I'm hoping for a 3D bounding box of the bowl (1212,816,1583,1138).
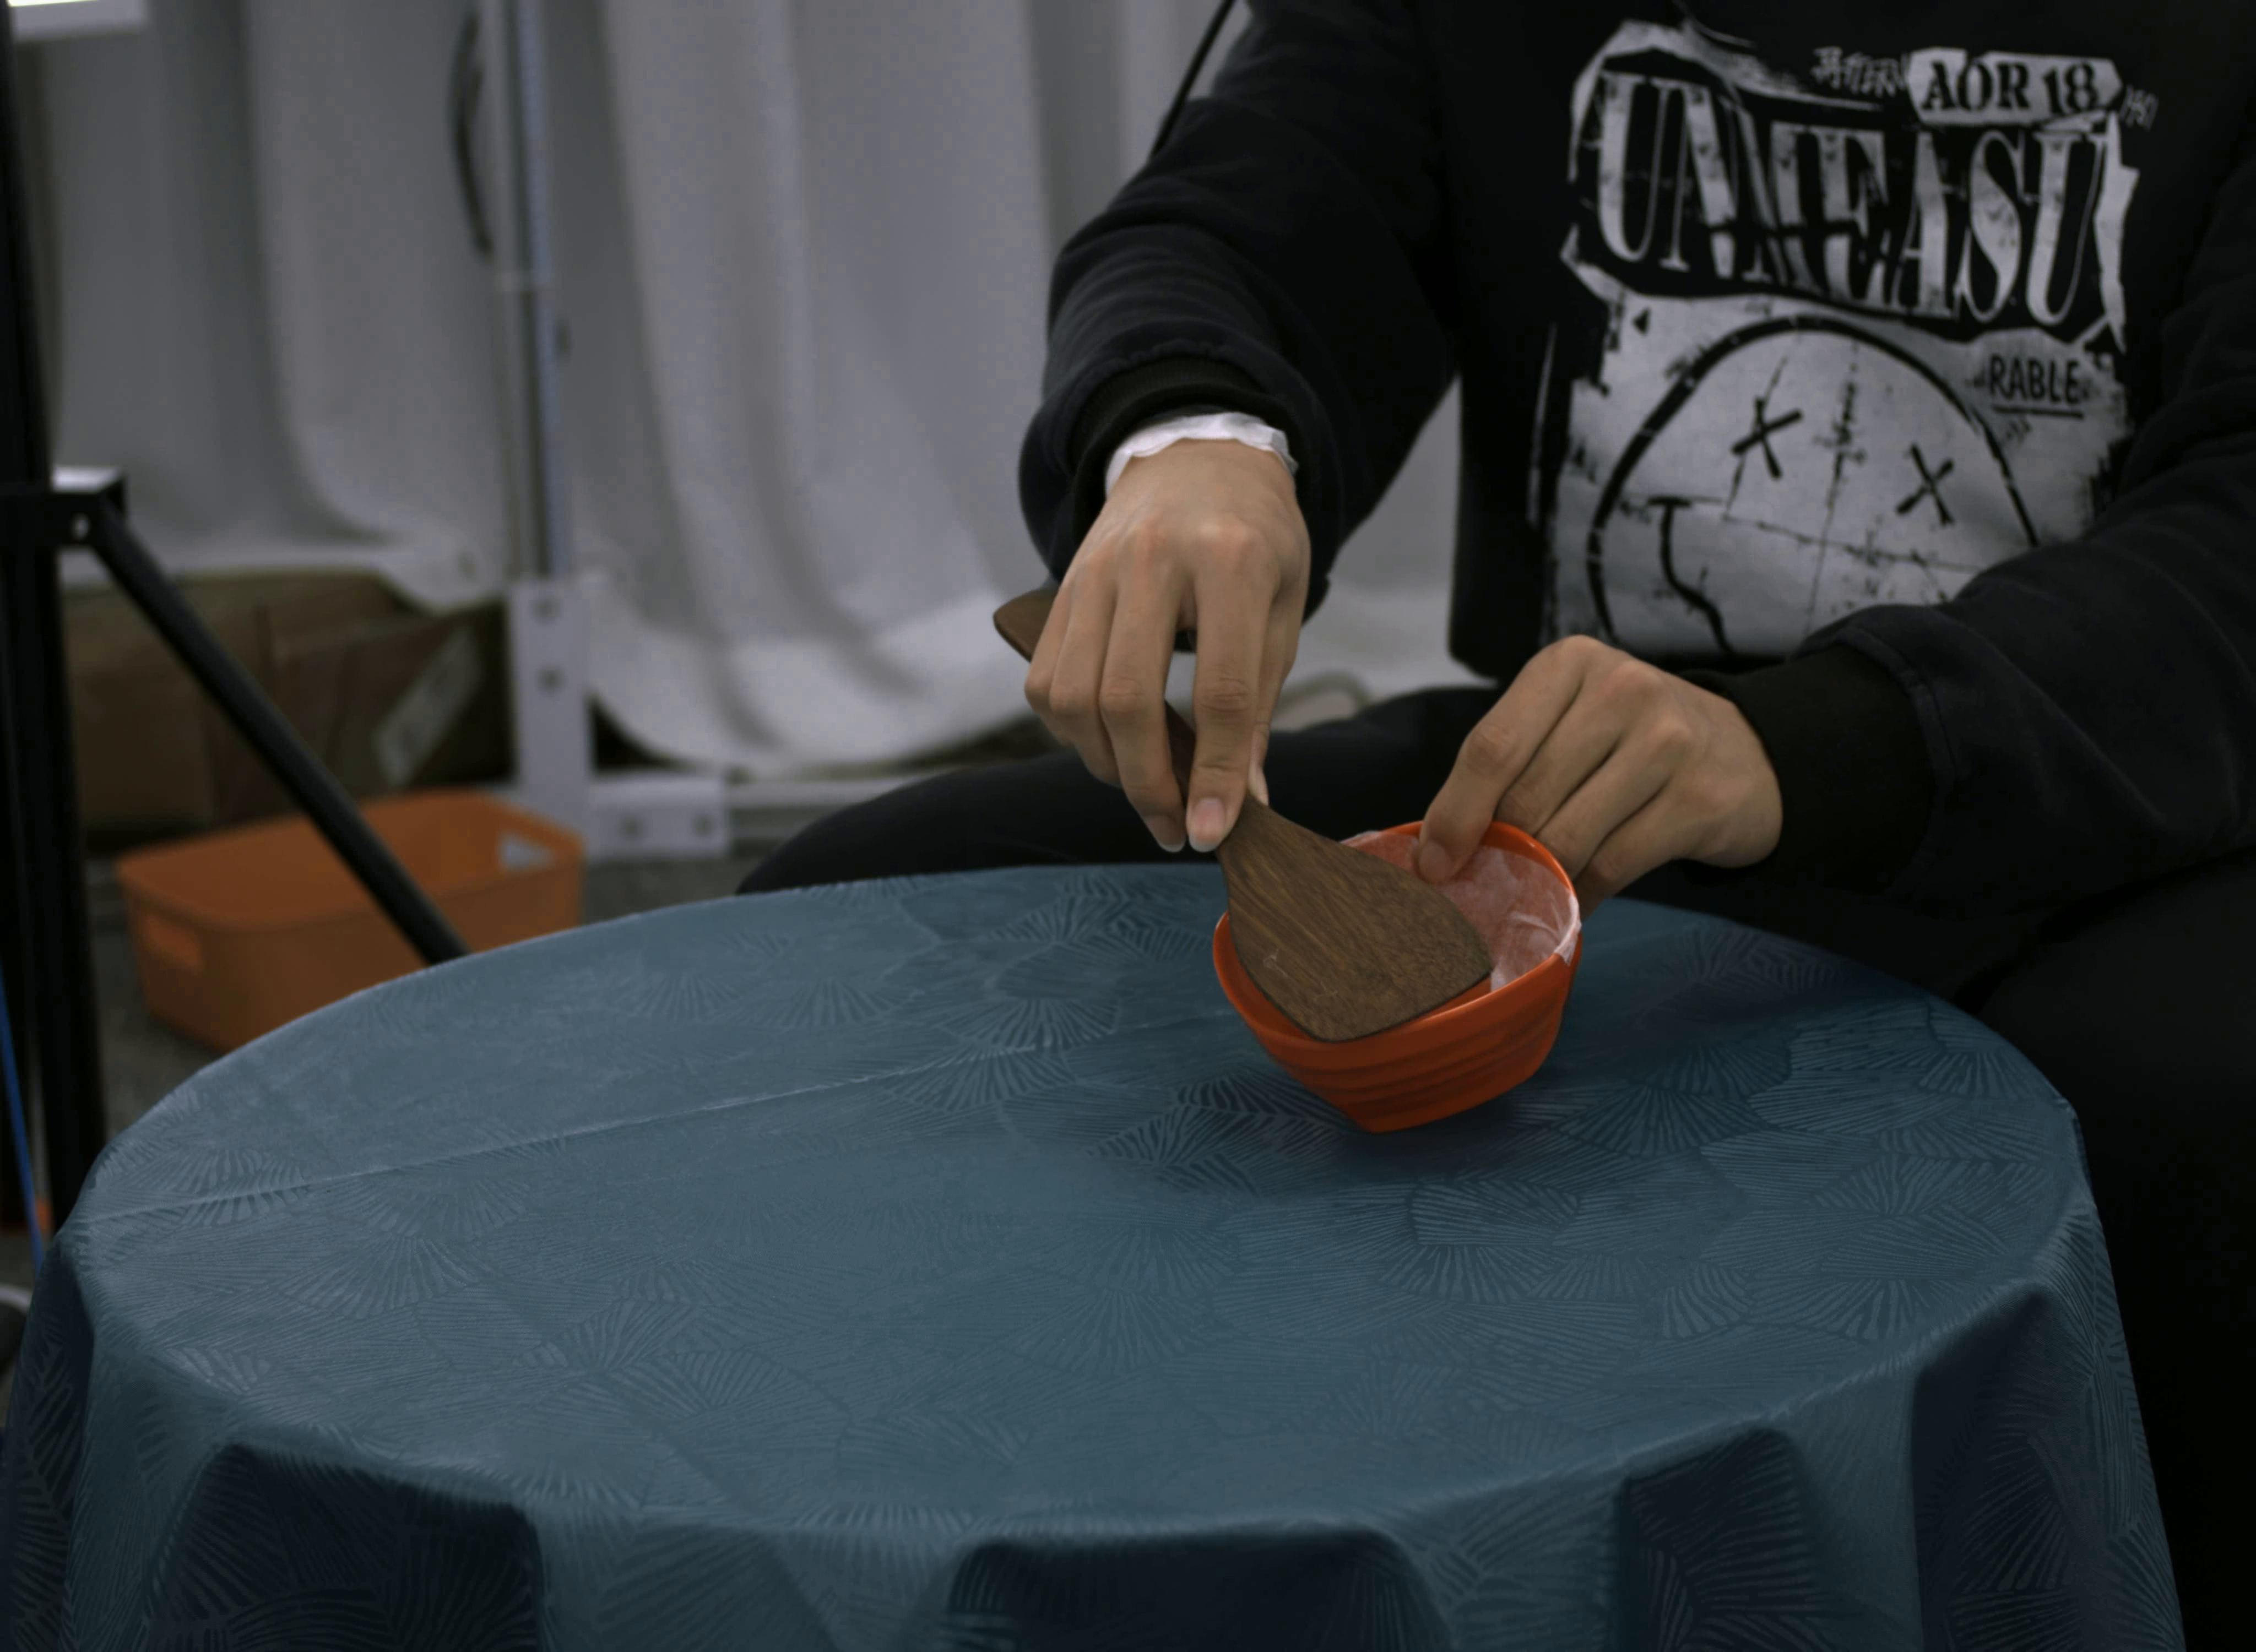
[{"bbox_3d":[0.087,0.051,1.612,0.119,0.051,0.120,-15,31,8],"label":"bowl"}]

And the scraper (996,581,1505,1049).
[{"bbox_3d":[0.027,-0.008,1.617,0.074,0.011,0.216,-24,52,-26],"label":"scraper"}]
